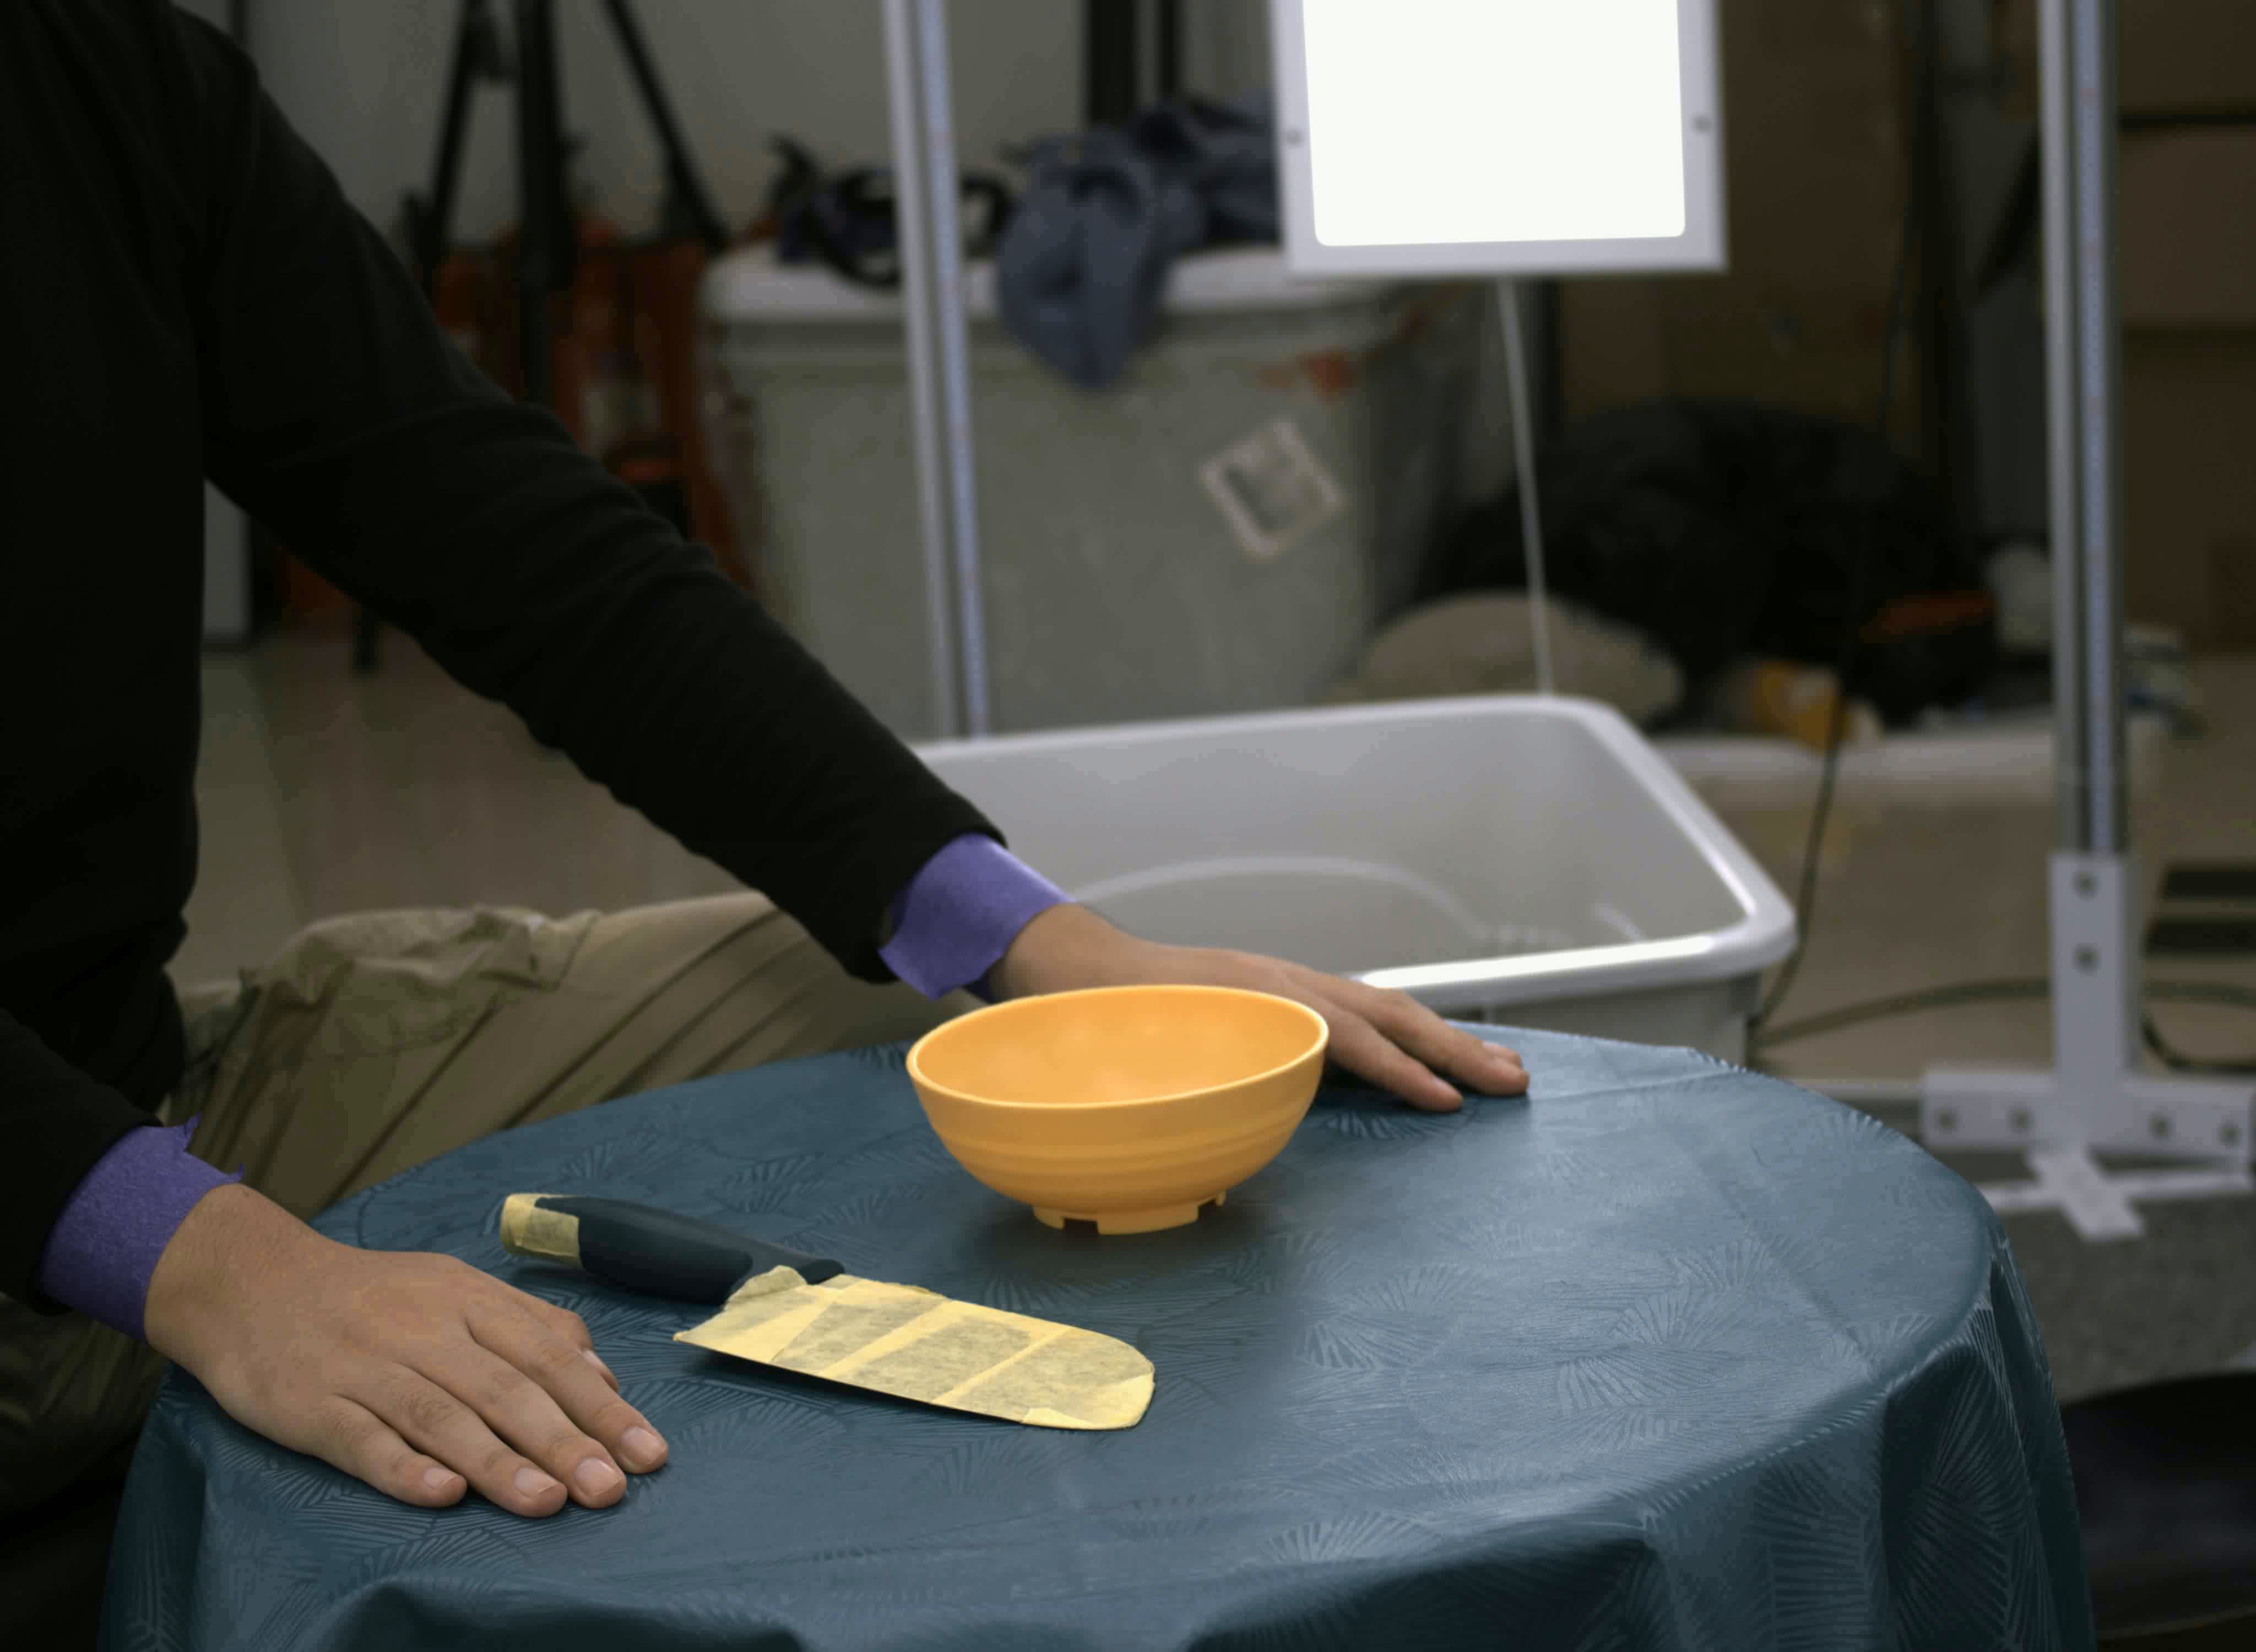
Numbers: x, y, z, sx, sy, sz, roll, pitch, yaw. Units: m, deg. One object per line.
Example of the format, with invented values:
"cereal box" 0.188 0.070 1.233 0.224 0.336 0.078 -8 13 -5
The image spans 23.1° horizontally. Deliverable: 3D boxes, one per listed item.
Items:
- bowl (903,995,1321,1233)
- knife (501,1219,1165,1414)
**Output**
"bowl" -0.005 0.102 1.878 0.145 0.060 0.145 -3 12 -1
"knife" -0.104 0.160 1.775 0.296 0.027 0.079 8 17 40
